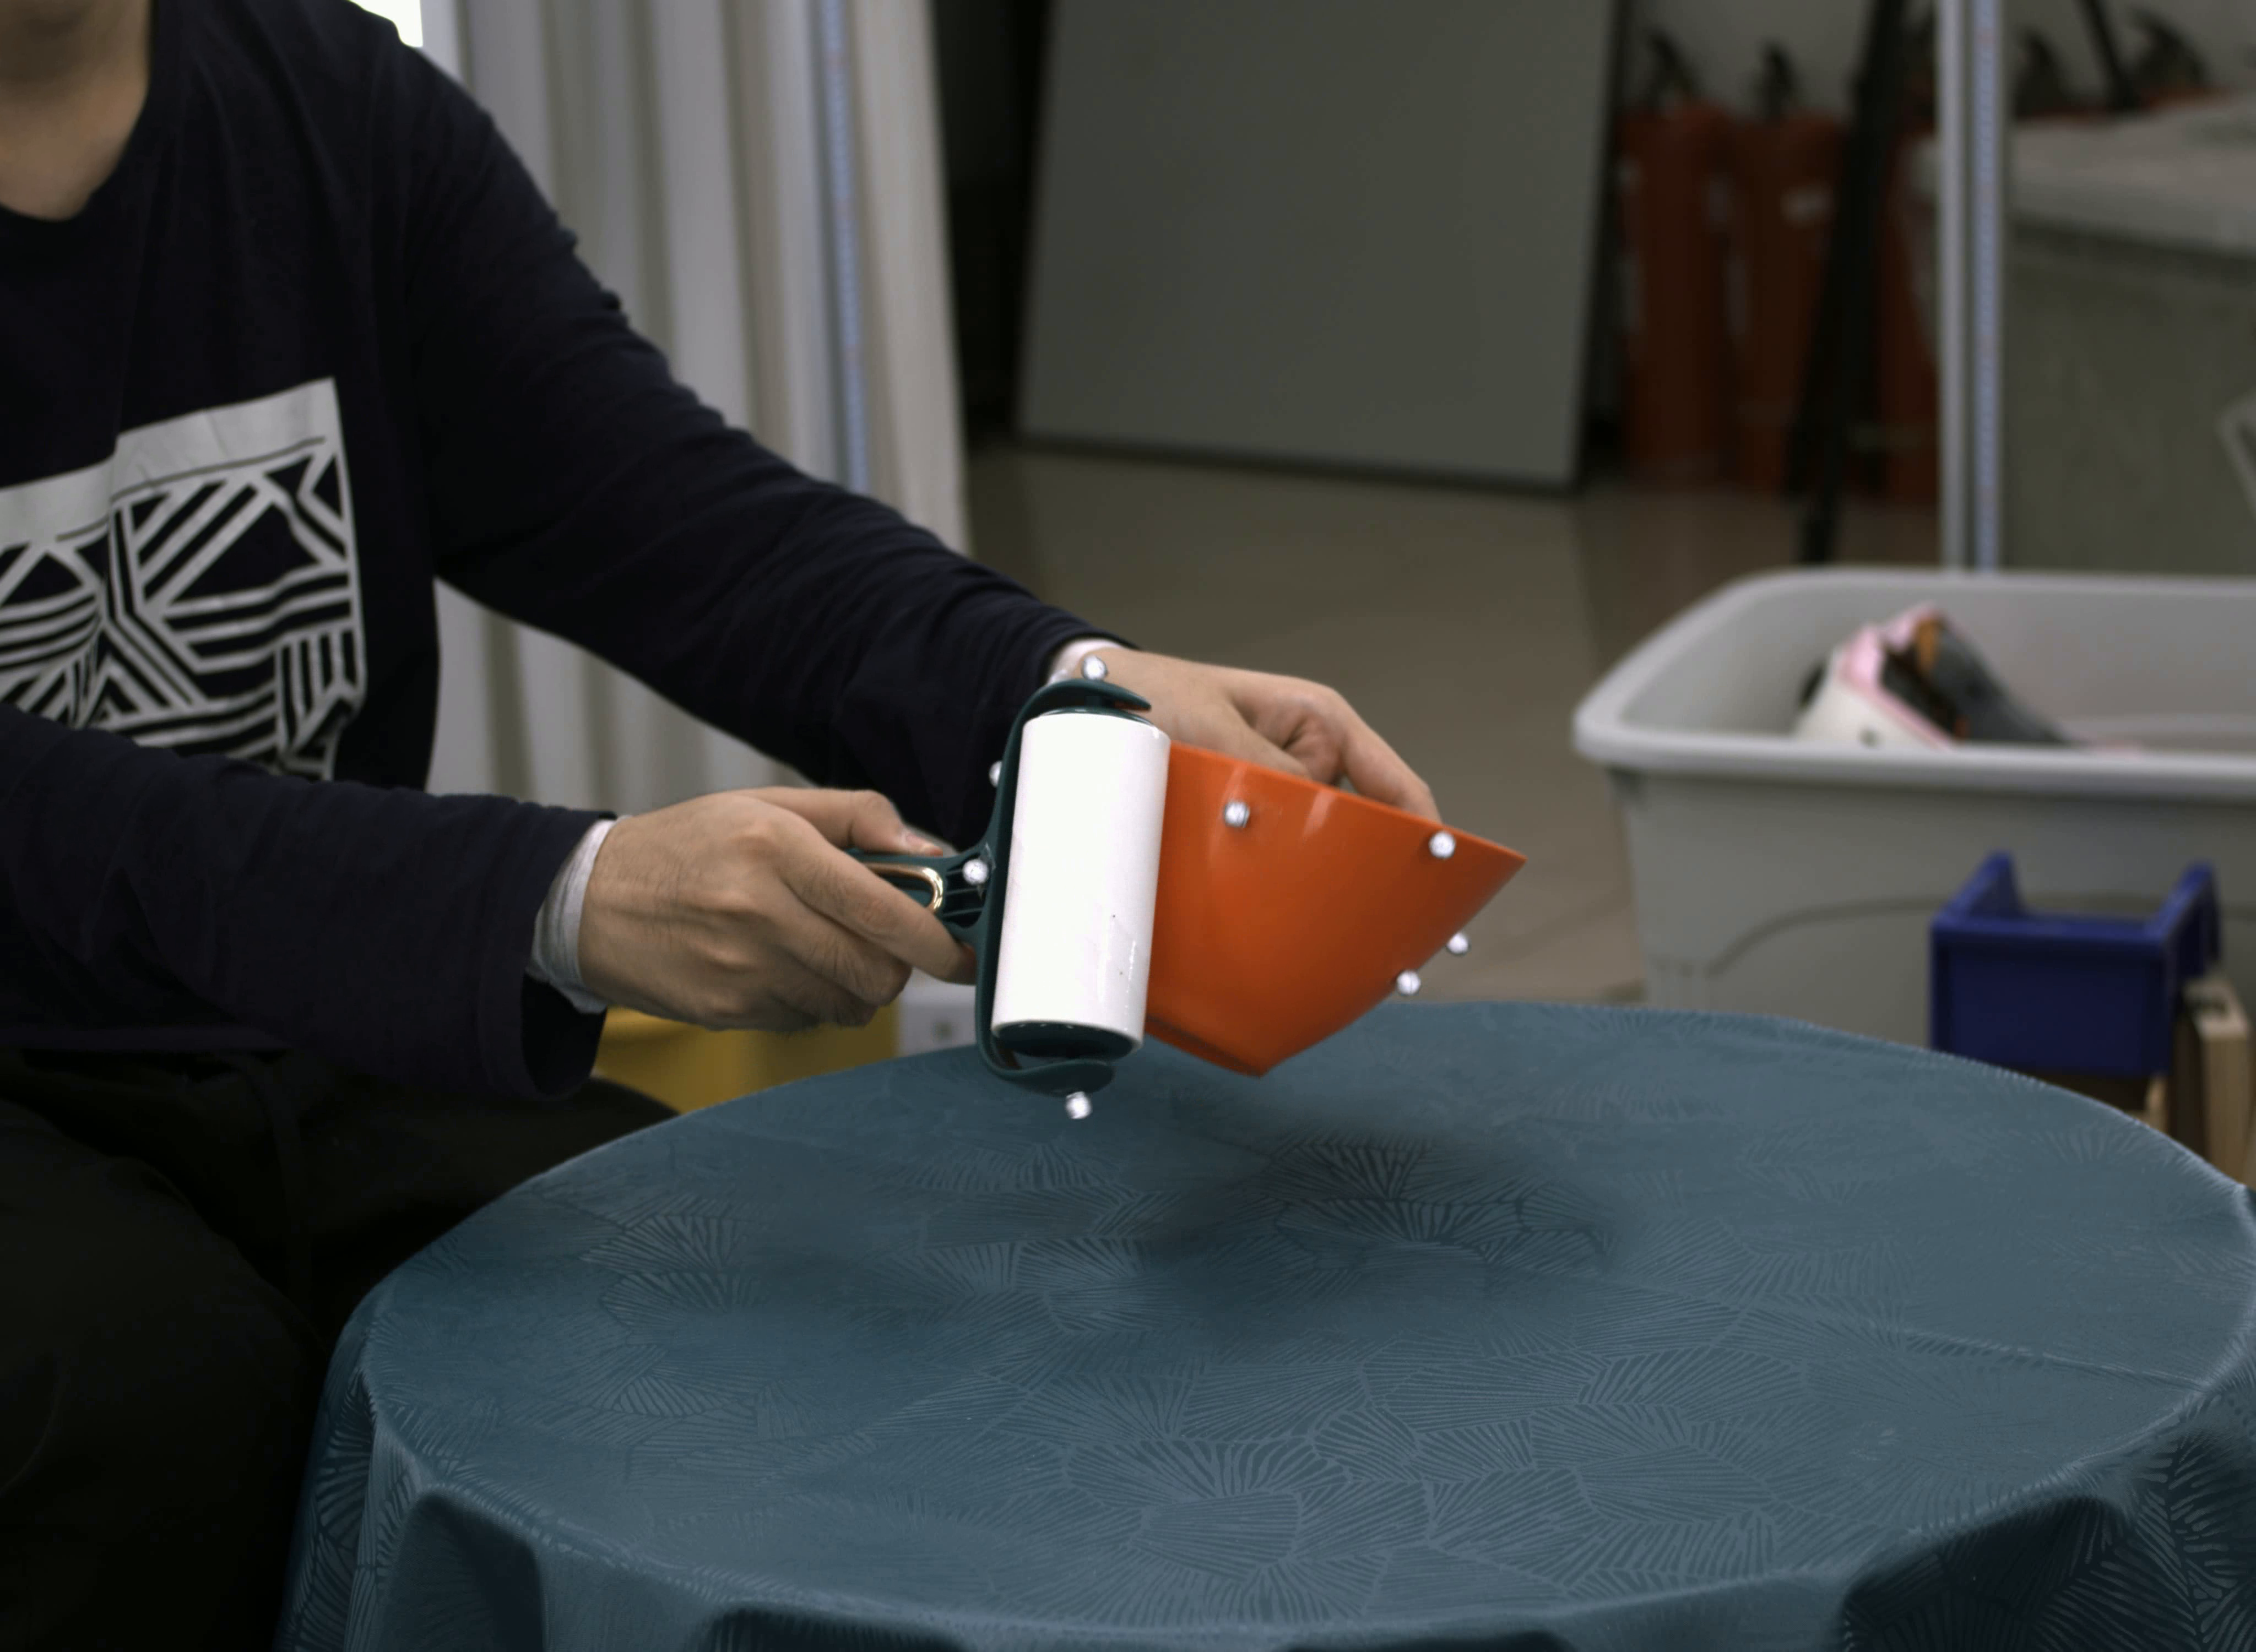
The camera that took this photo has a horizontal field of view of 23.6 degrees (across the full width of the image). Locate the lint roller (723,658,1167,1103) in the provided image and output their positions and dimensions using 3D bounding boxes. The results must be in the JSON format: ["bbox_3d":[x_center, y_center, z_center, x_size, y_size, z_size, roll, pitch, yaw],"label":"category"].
[{"bbox_3d":[-0.070,0.024,1.712,0.181,0.136,0.047,-6,-21,35],"label":"lint roller"}]

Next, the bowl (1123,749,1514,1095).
[{"bbox_3d":[0.039,0.031,1.744,0.147,0.105,0.148,23,-8,3],"label":"bowl"}]
